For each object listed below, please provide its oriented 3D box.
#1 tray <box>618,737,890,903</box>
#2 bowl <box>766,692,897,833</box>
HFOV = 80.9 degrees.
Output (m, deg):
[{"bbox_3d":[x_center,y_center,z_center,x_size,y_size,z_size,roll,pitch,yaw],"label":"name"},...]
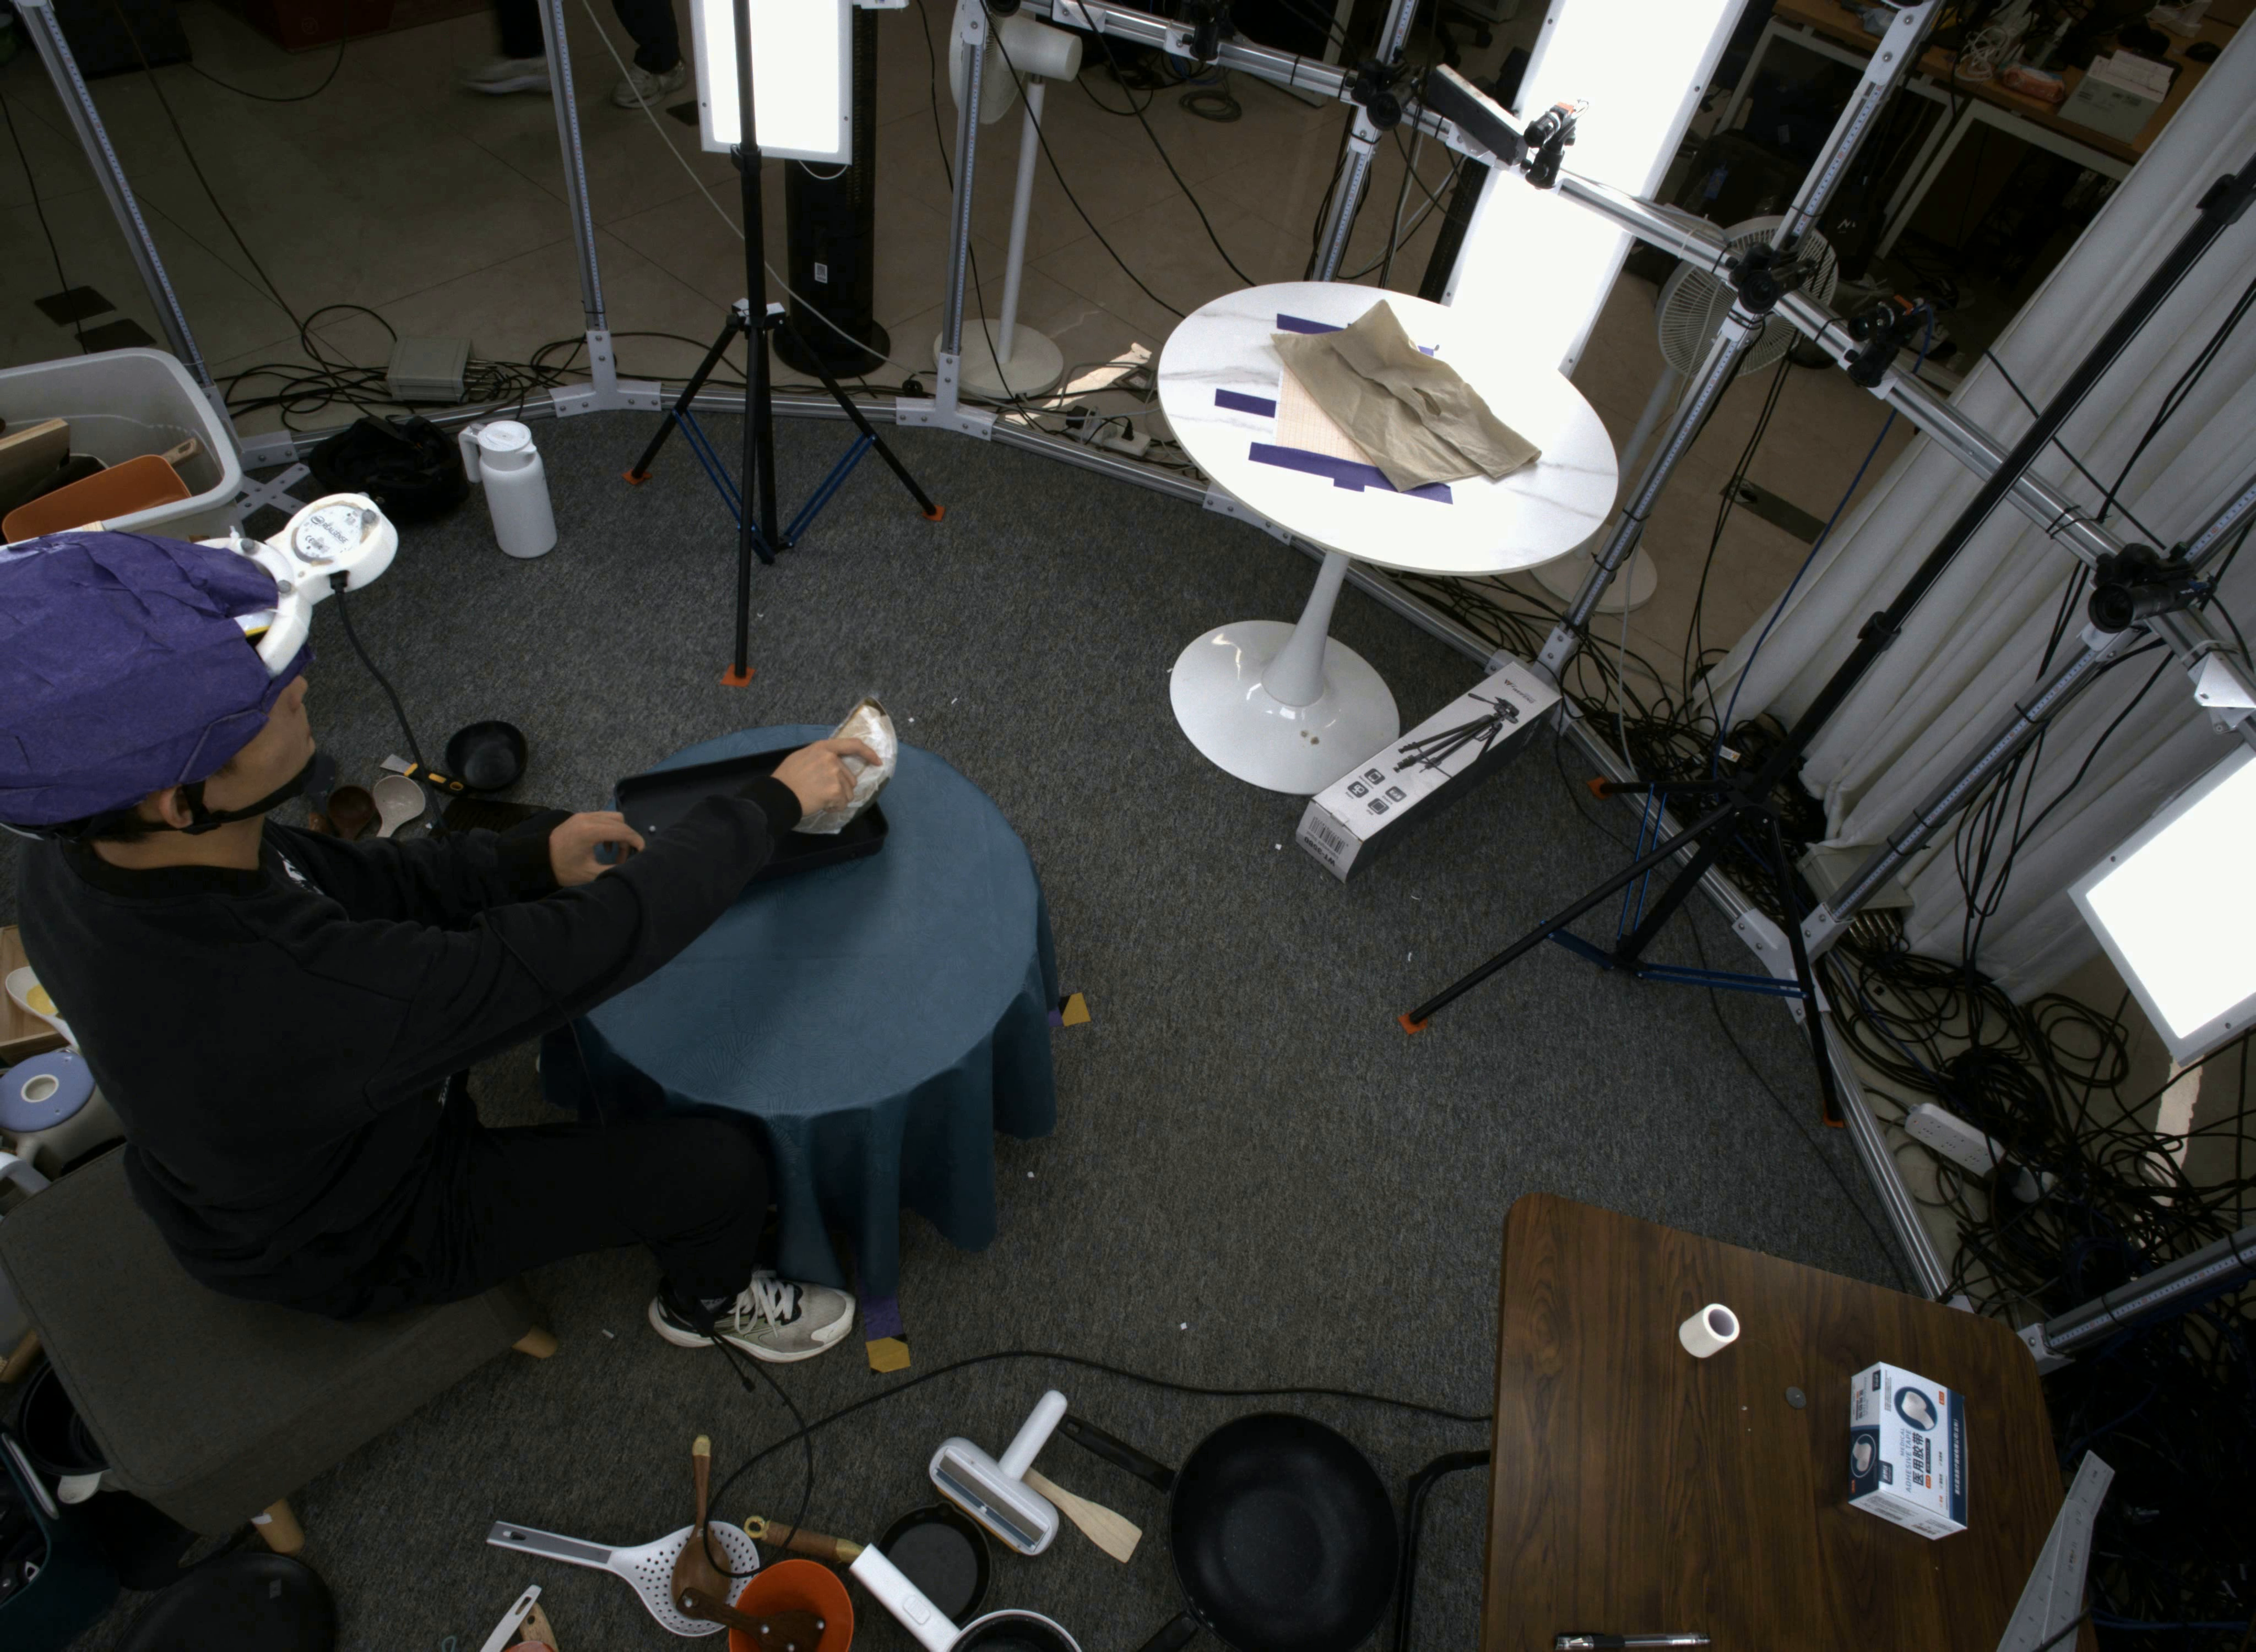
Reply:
[{"bbox_3d":[-0.485,-0.015,1.678,0.321,0.037,0.180,-13,60,-30],"label":"tray"},{"bbox_3d":[-0.363,-0.061,1.655,0.096,0.212,0.213,41,50,-13],"label":"bowl"}]
